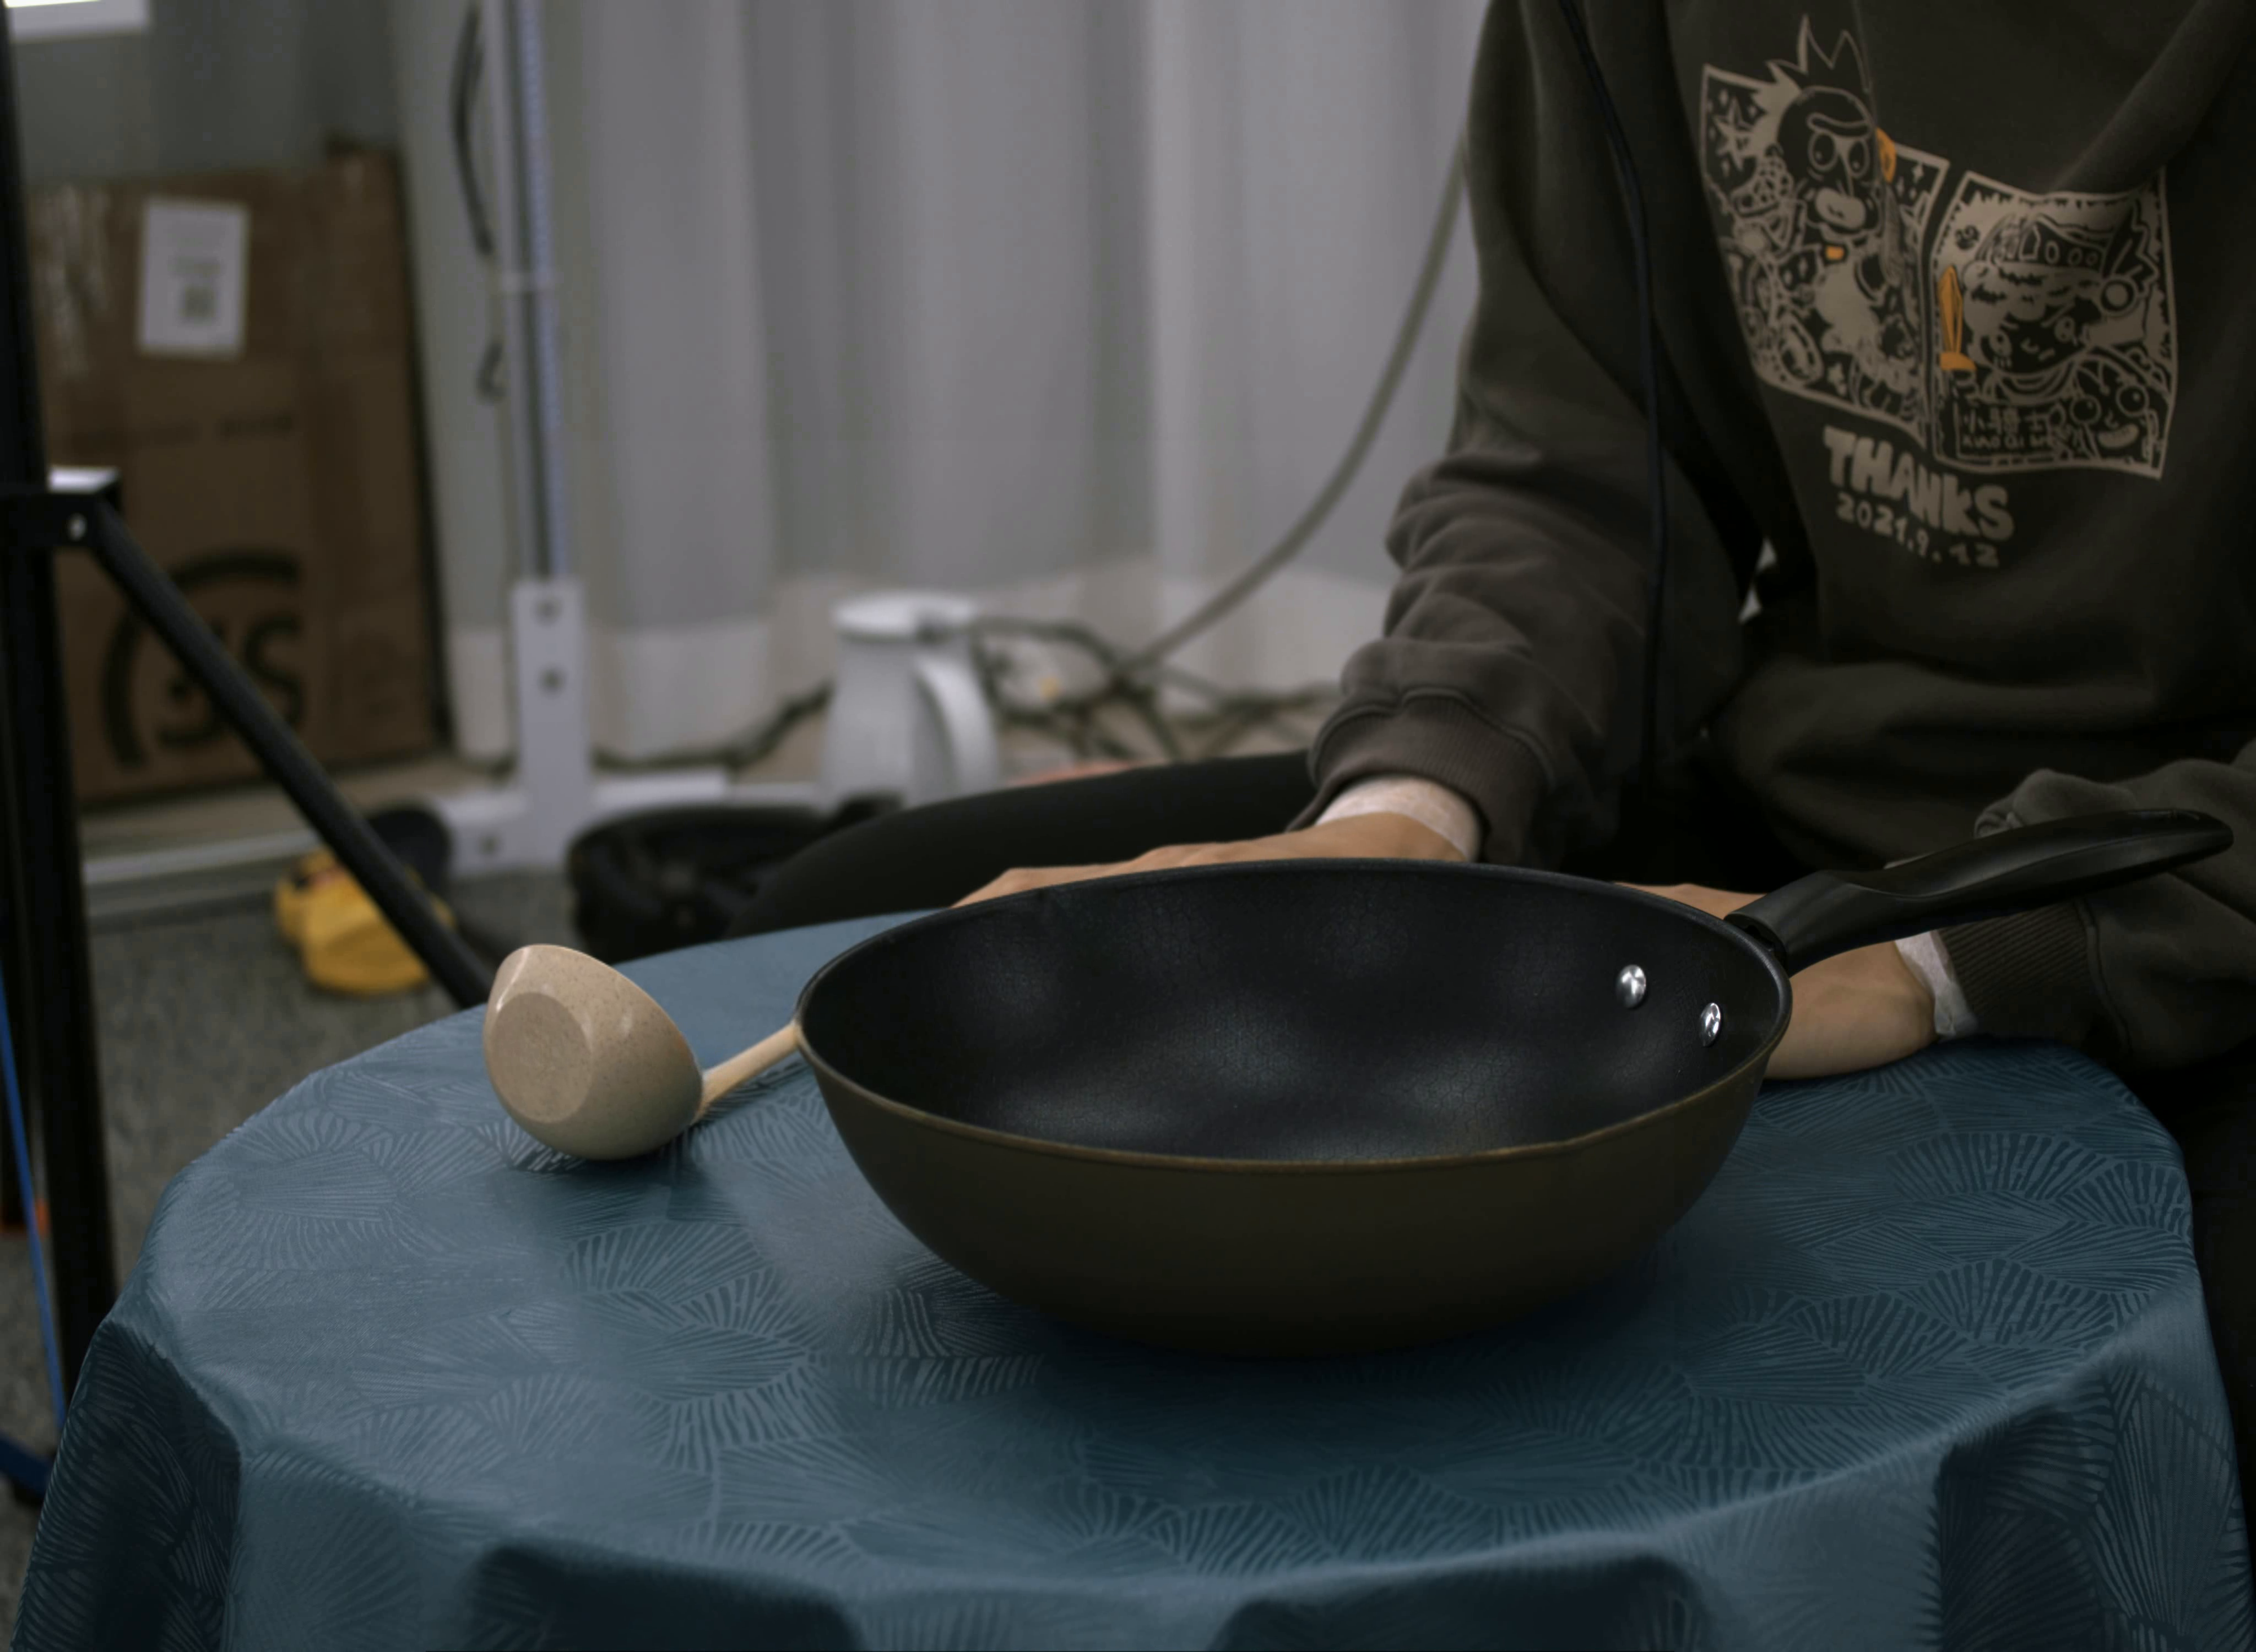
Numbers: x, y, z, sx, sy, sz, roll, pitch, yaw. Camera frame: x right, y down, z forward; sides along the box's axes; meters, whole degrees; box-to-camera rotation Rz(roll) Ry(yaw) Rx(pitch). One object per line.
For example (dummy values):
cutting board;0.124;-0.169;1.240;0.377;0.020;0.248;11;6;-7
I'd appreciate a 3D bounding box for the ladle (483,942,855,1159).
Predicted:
ladle;-0.112;0.040;1.688;0.073;0.073;0.250;2;16;31

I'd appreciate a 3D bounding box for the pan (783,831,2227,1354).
pan;0.124;0.070;1.524;0.453;0.087;0.294;-9;17;-25
